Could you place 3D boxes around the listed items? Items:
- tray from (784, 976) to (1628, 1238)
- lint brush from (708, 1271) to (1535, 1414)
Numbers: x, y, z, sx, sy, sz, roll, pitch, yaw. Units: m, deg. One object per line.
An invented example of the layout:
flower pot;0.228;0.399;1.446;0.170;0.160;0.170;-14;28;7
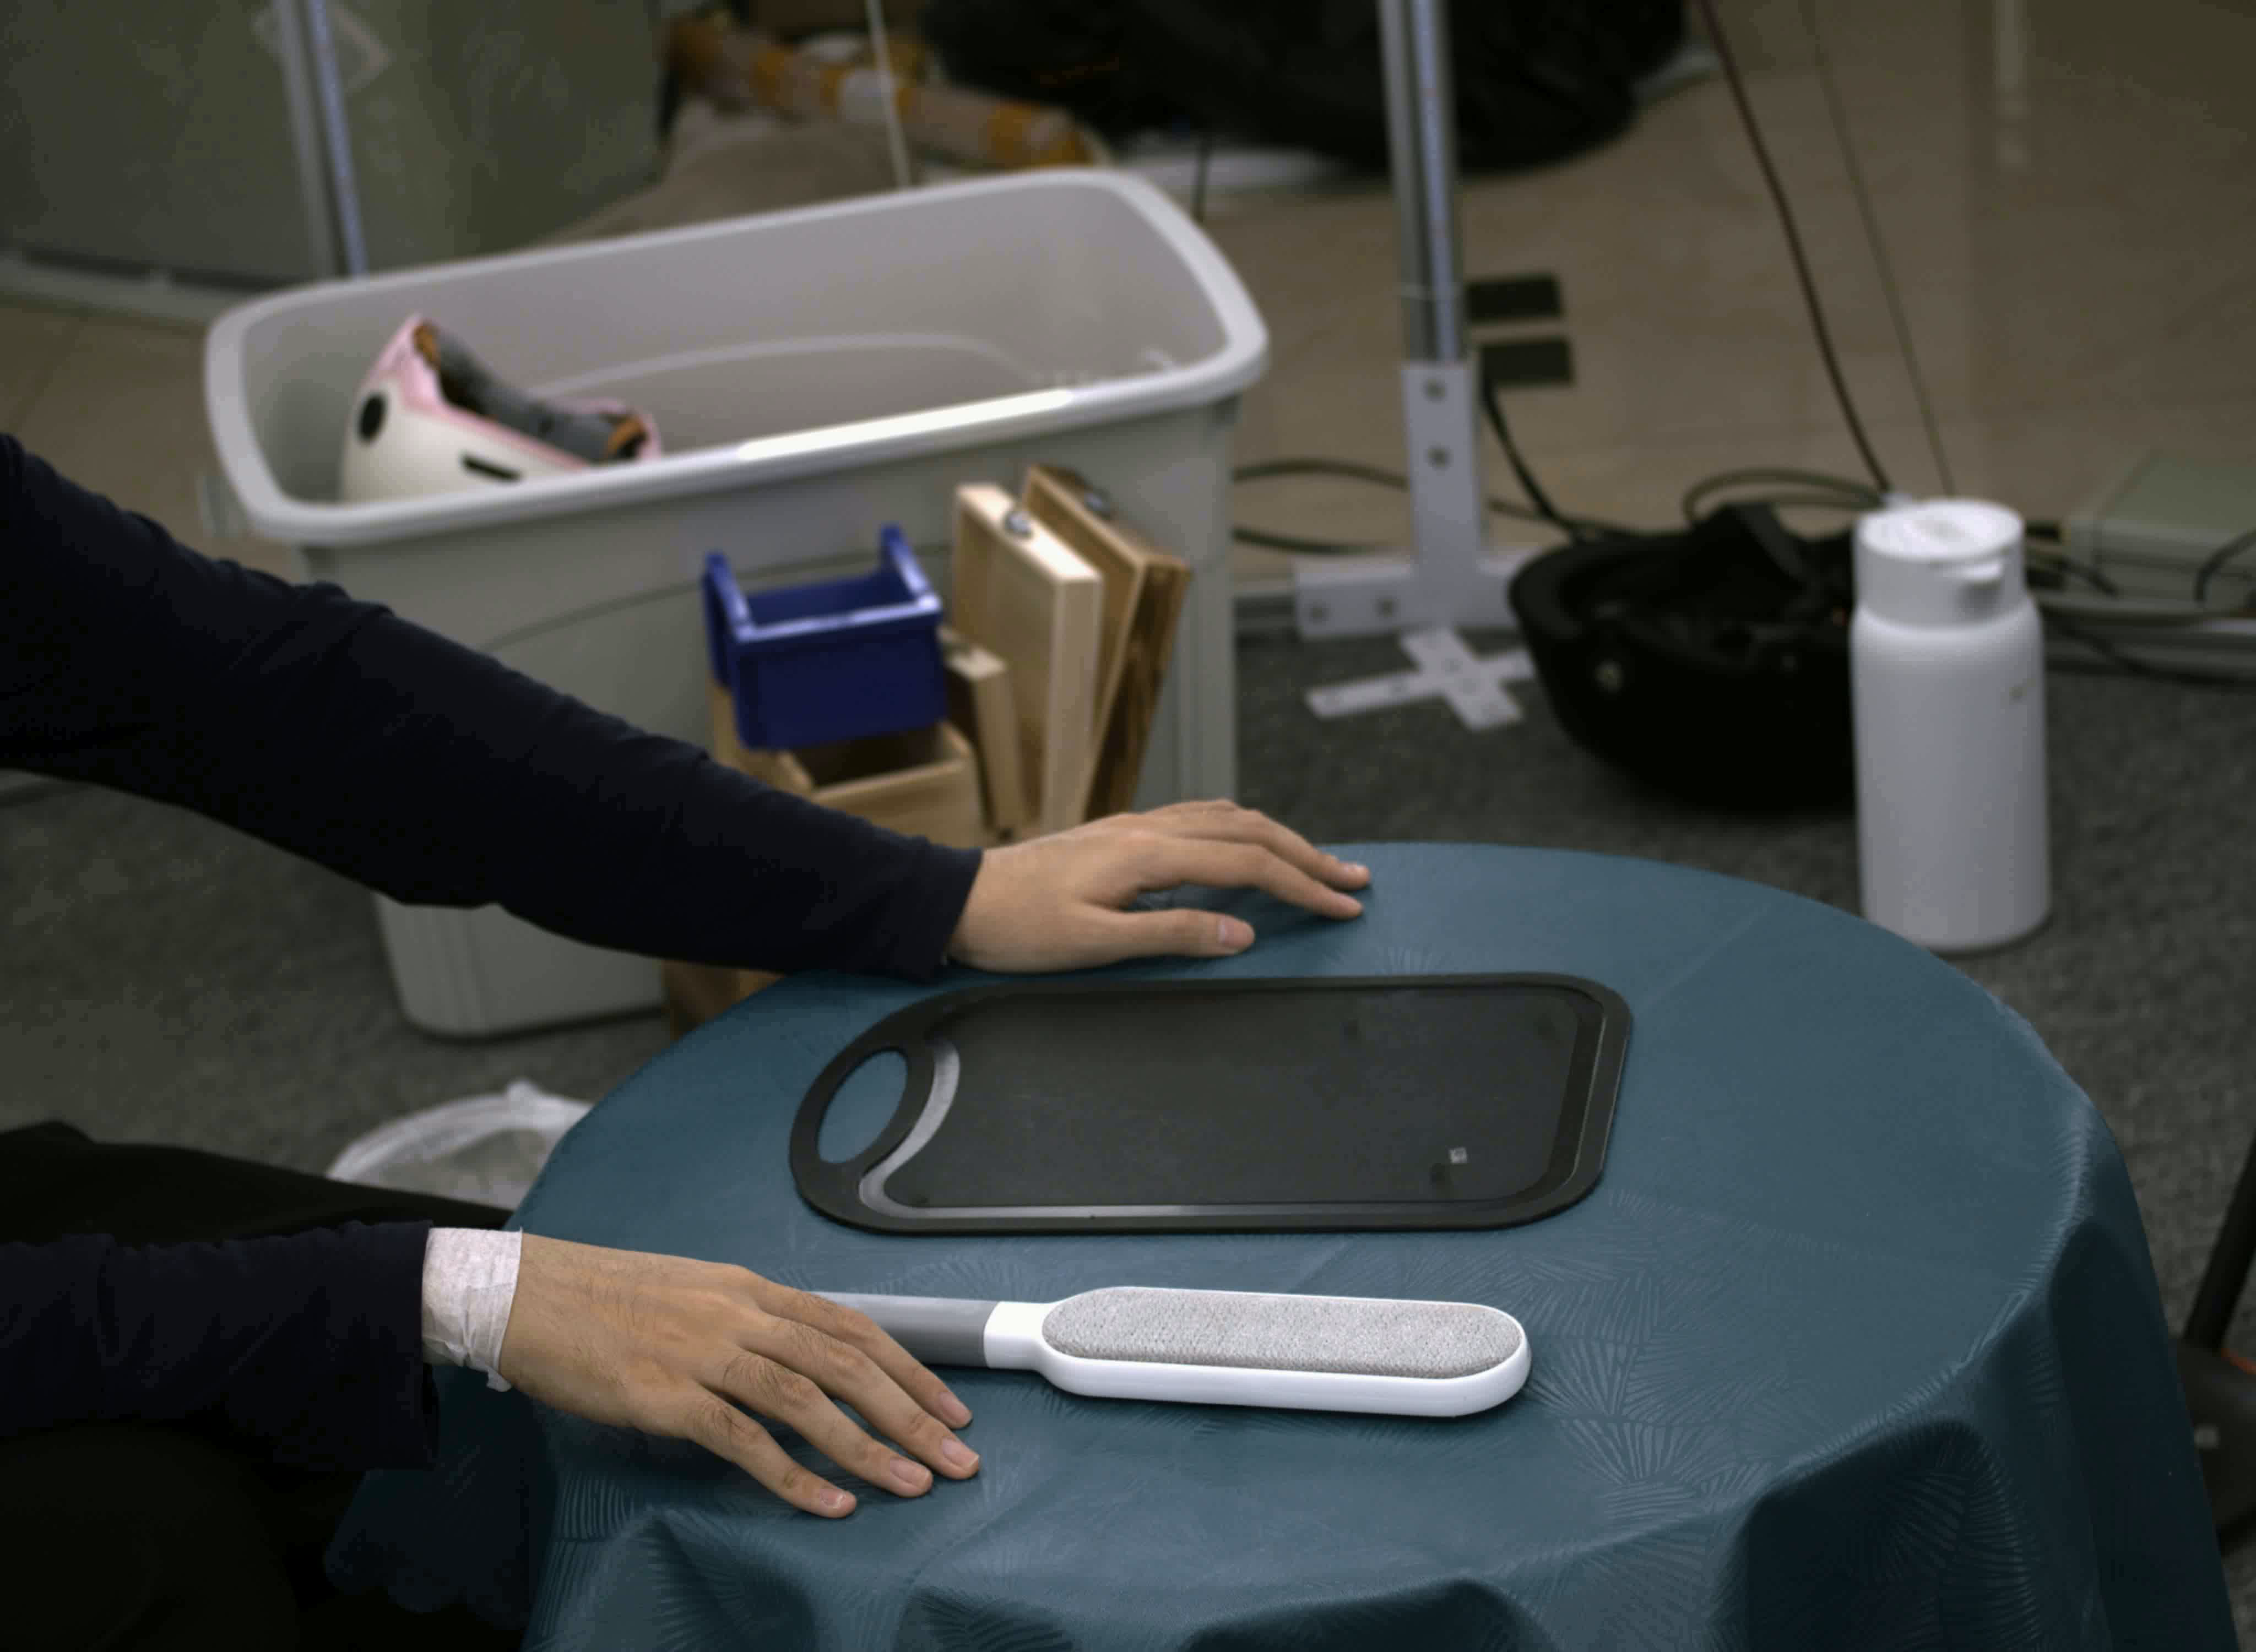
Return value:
tray;0.027;0.106;2.208;0.325;0.010;0.208;-1;25;12
lint brush;-0.006;0.180;2.030;0.308;0.021;0.059;2;31;18
